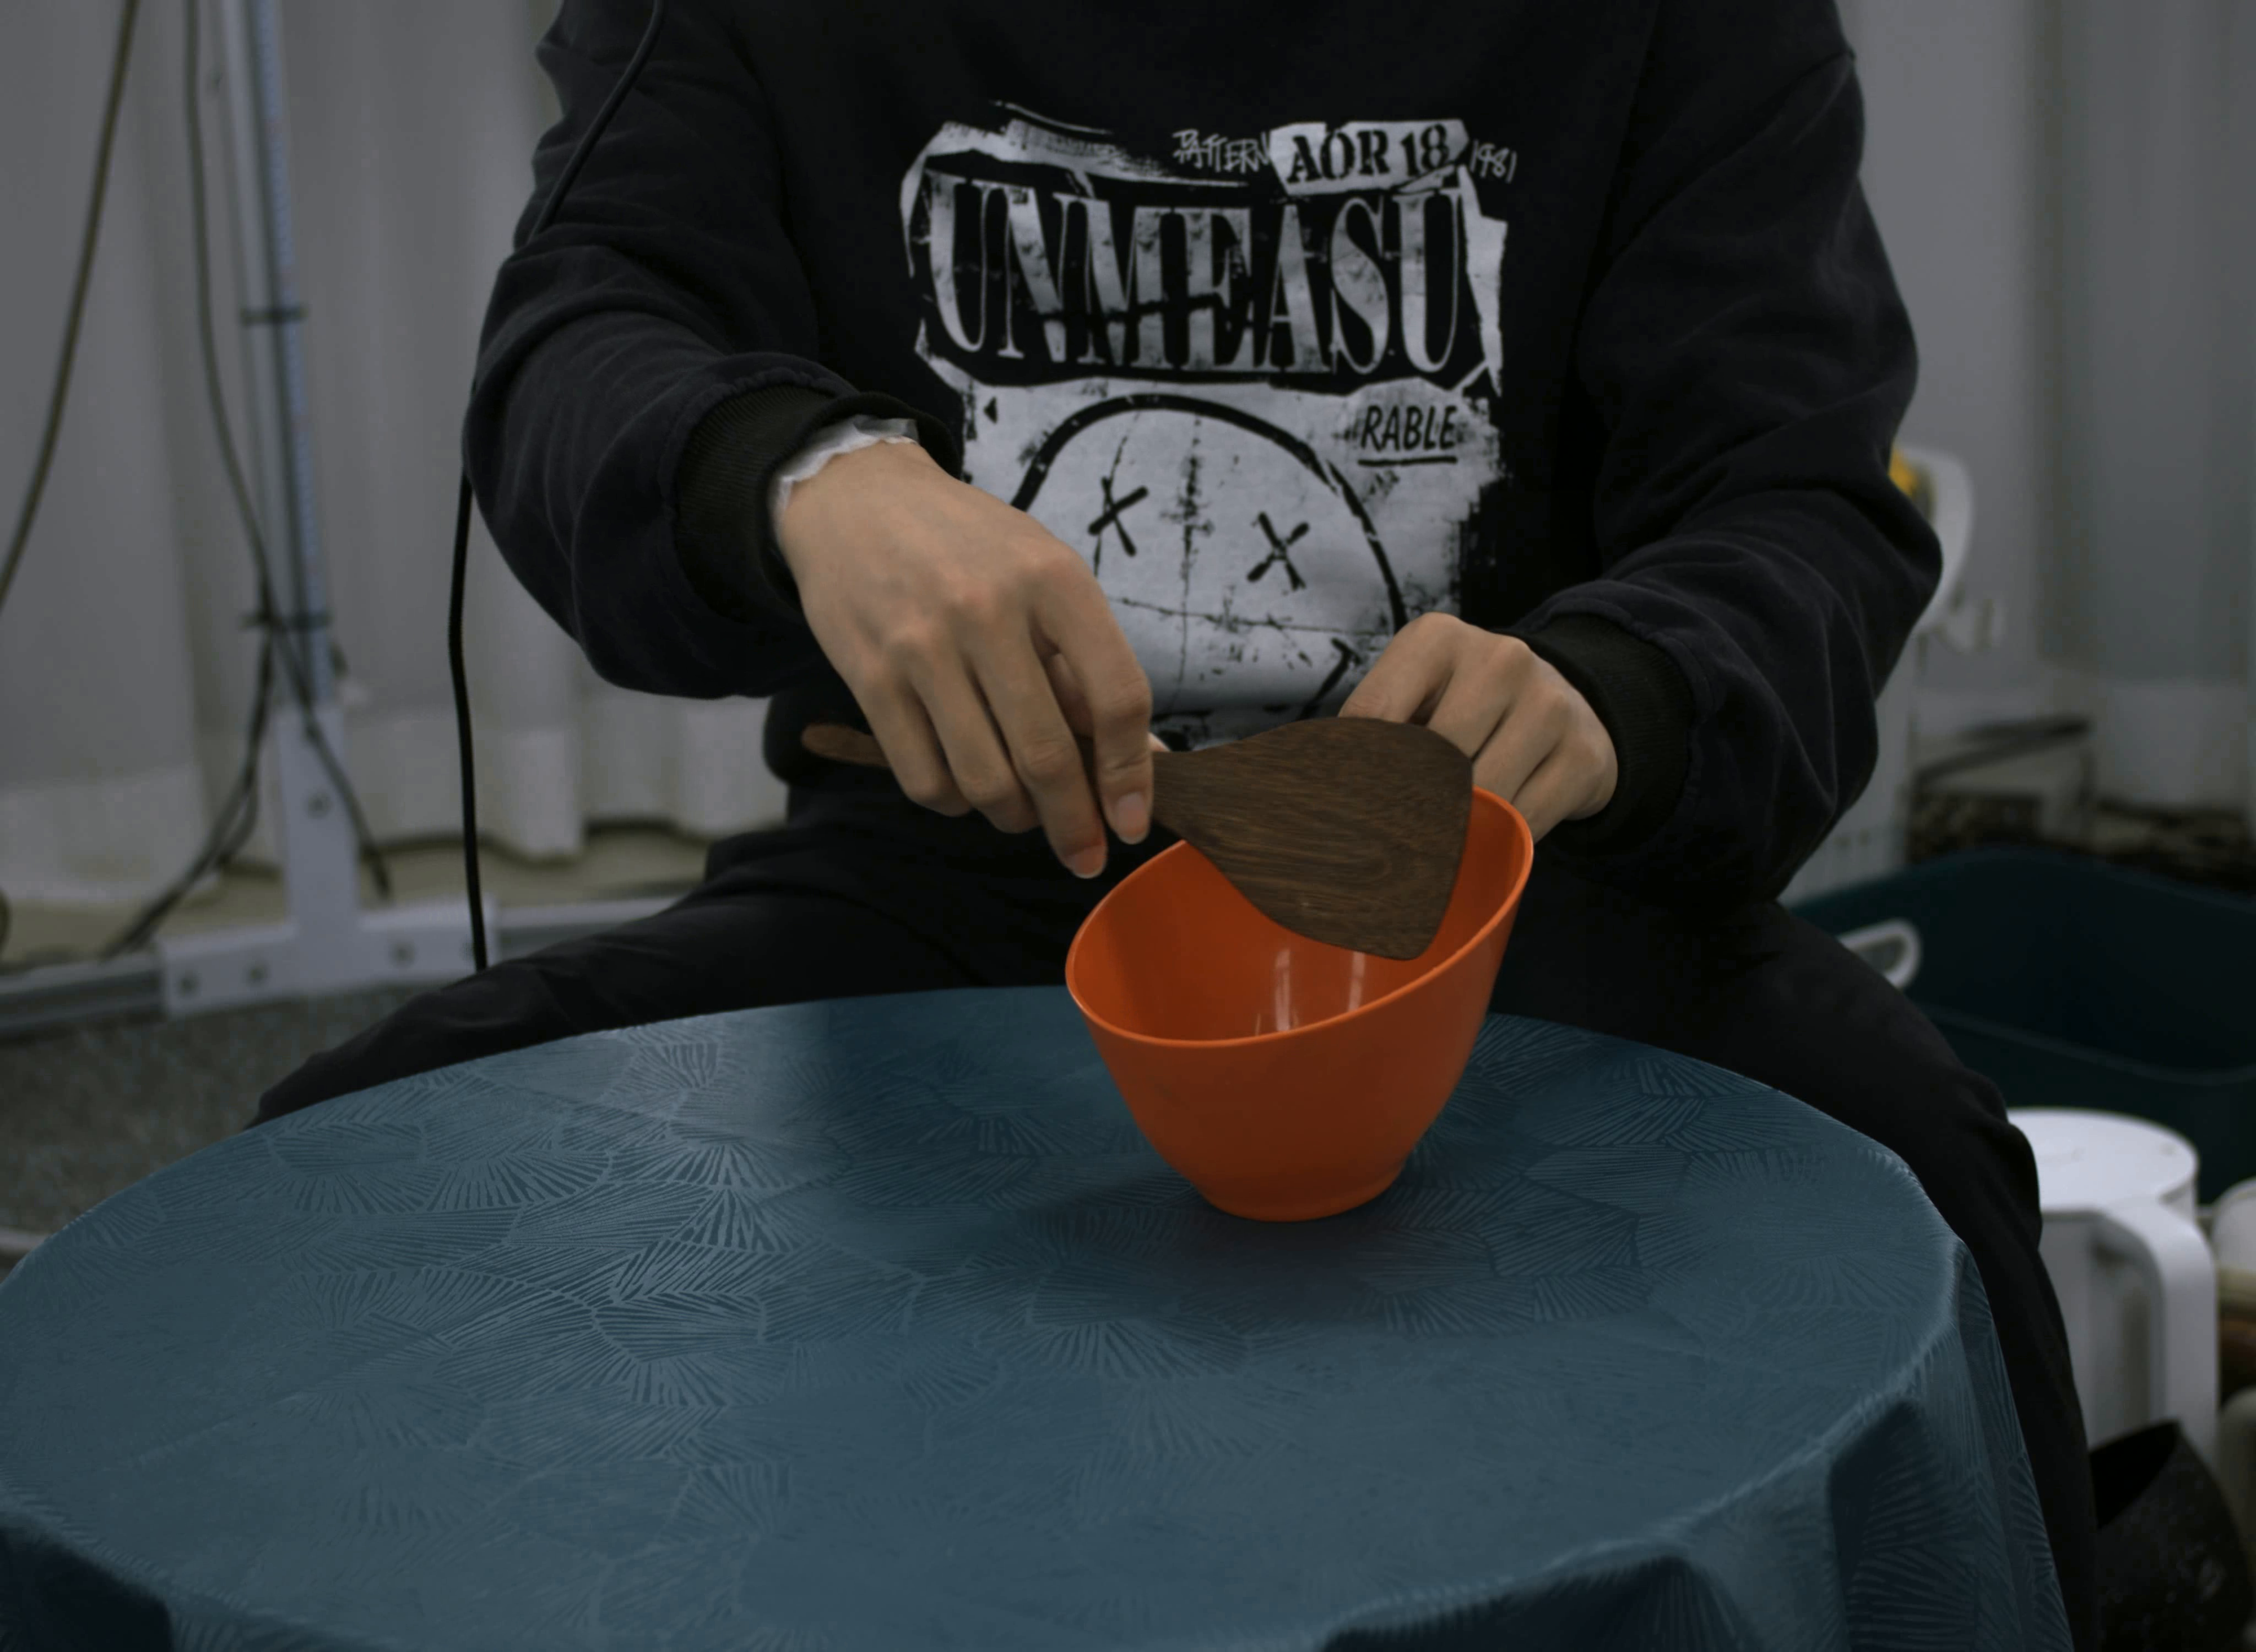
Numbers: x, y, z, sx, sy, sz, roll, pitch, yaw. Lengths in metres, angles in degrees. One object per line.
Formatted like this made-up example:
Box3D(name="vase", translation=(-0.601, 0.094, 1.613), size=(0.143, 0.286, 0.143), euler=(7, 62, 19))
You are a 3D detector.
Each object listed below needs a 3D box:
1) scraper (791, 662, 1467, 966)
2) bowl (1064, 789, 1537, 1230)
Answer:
Box3D(name="scraper", translation=(-0.002, -0.015, 1.679), size=(0.211, 0.076, 0.011), euler=(14, -11, 9))
Box3D(name="bowl", translation=(0.057, 0.062, 1.682), size=(0.147, 0.103, 0.150), euler=(-7, 28, 3))
